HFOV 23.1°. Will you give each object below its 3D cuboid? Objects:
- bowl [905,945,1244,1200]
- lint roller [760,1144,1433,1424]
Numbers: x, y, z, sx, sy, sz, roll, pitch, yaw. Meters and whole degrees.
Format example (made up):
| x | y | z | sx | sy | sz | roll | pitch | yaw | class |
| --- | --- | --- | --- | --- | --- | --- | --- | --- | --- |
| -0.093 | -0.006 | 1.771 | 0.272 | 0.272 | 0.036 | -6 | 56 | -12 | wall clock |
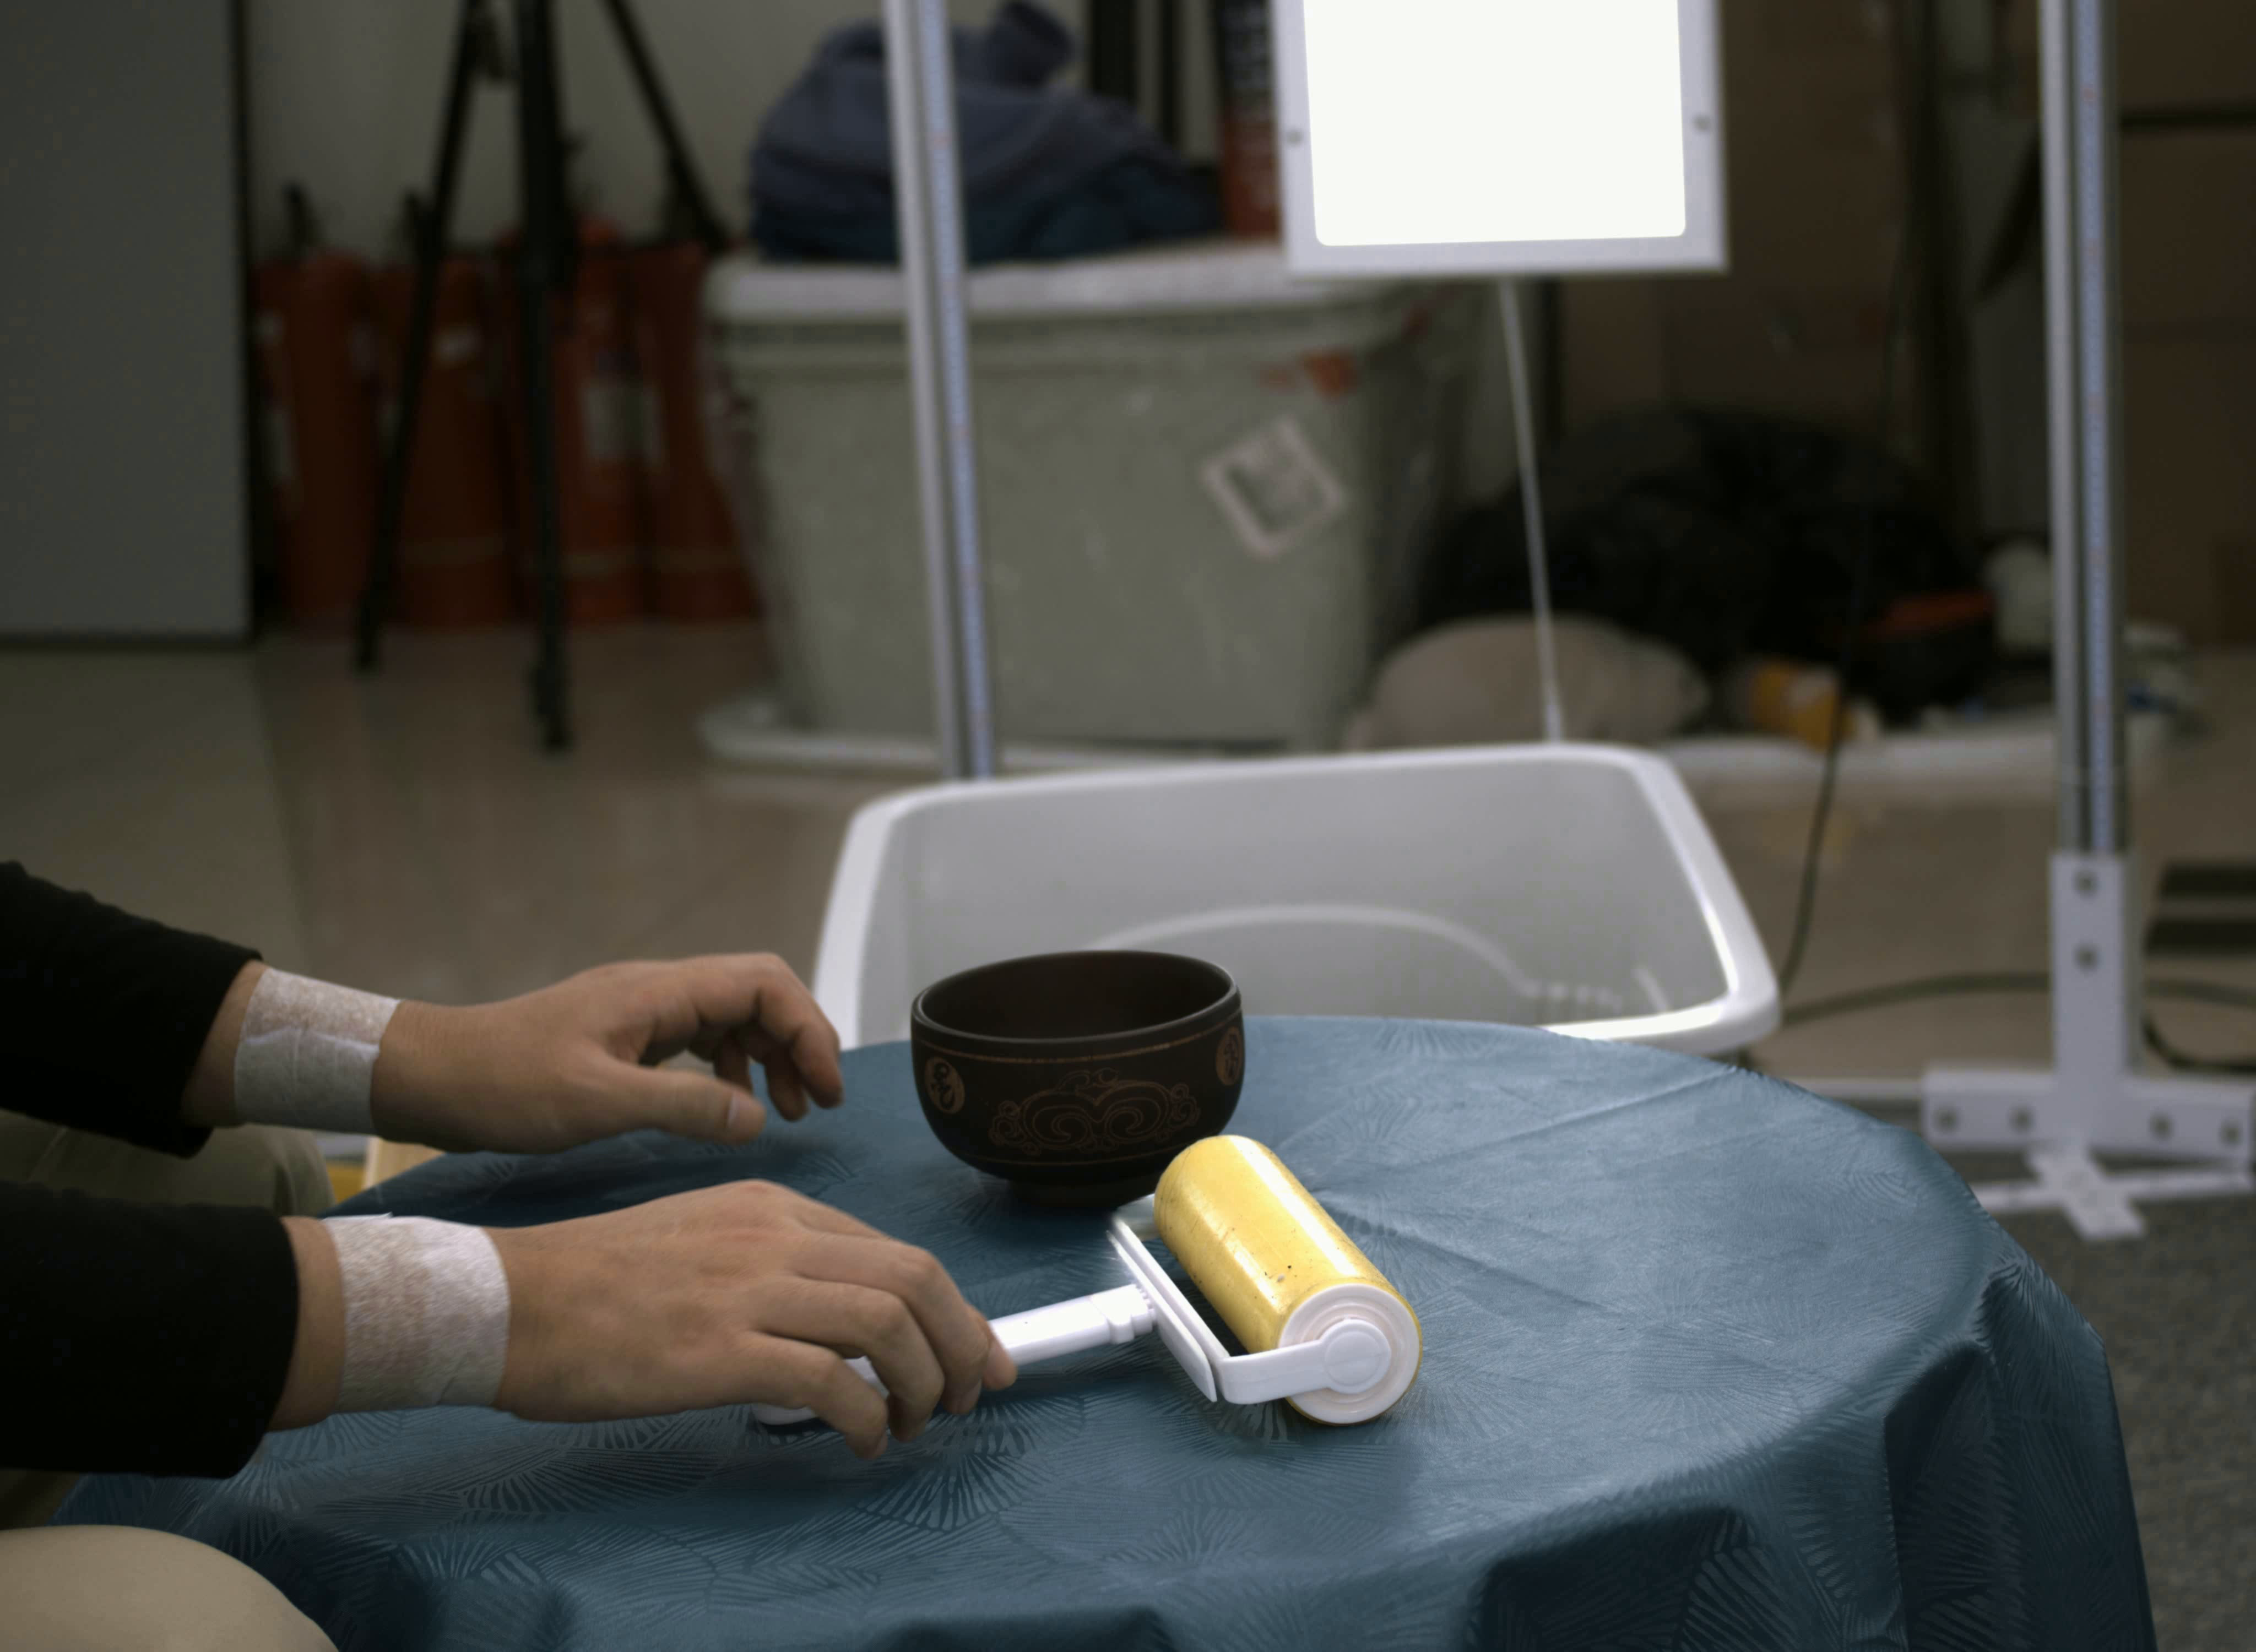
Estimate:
| x | y | z | sx | sy | sz | roll | pitch | yaw | class |
| --- | --- | --- | --- | --- | --- | --- | --- | --- | --- |
| -0.017 | 0.088 | 1.903 | 0.117 | 0.070 | 0.118 | -4 | 13 | 0 | bowl |
| -0.020 | 0.148 | 1.710 | 0.189 | 0.051 | 0.176 | -3 | 12 | -13 | lint roller |
